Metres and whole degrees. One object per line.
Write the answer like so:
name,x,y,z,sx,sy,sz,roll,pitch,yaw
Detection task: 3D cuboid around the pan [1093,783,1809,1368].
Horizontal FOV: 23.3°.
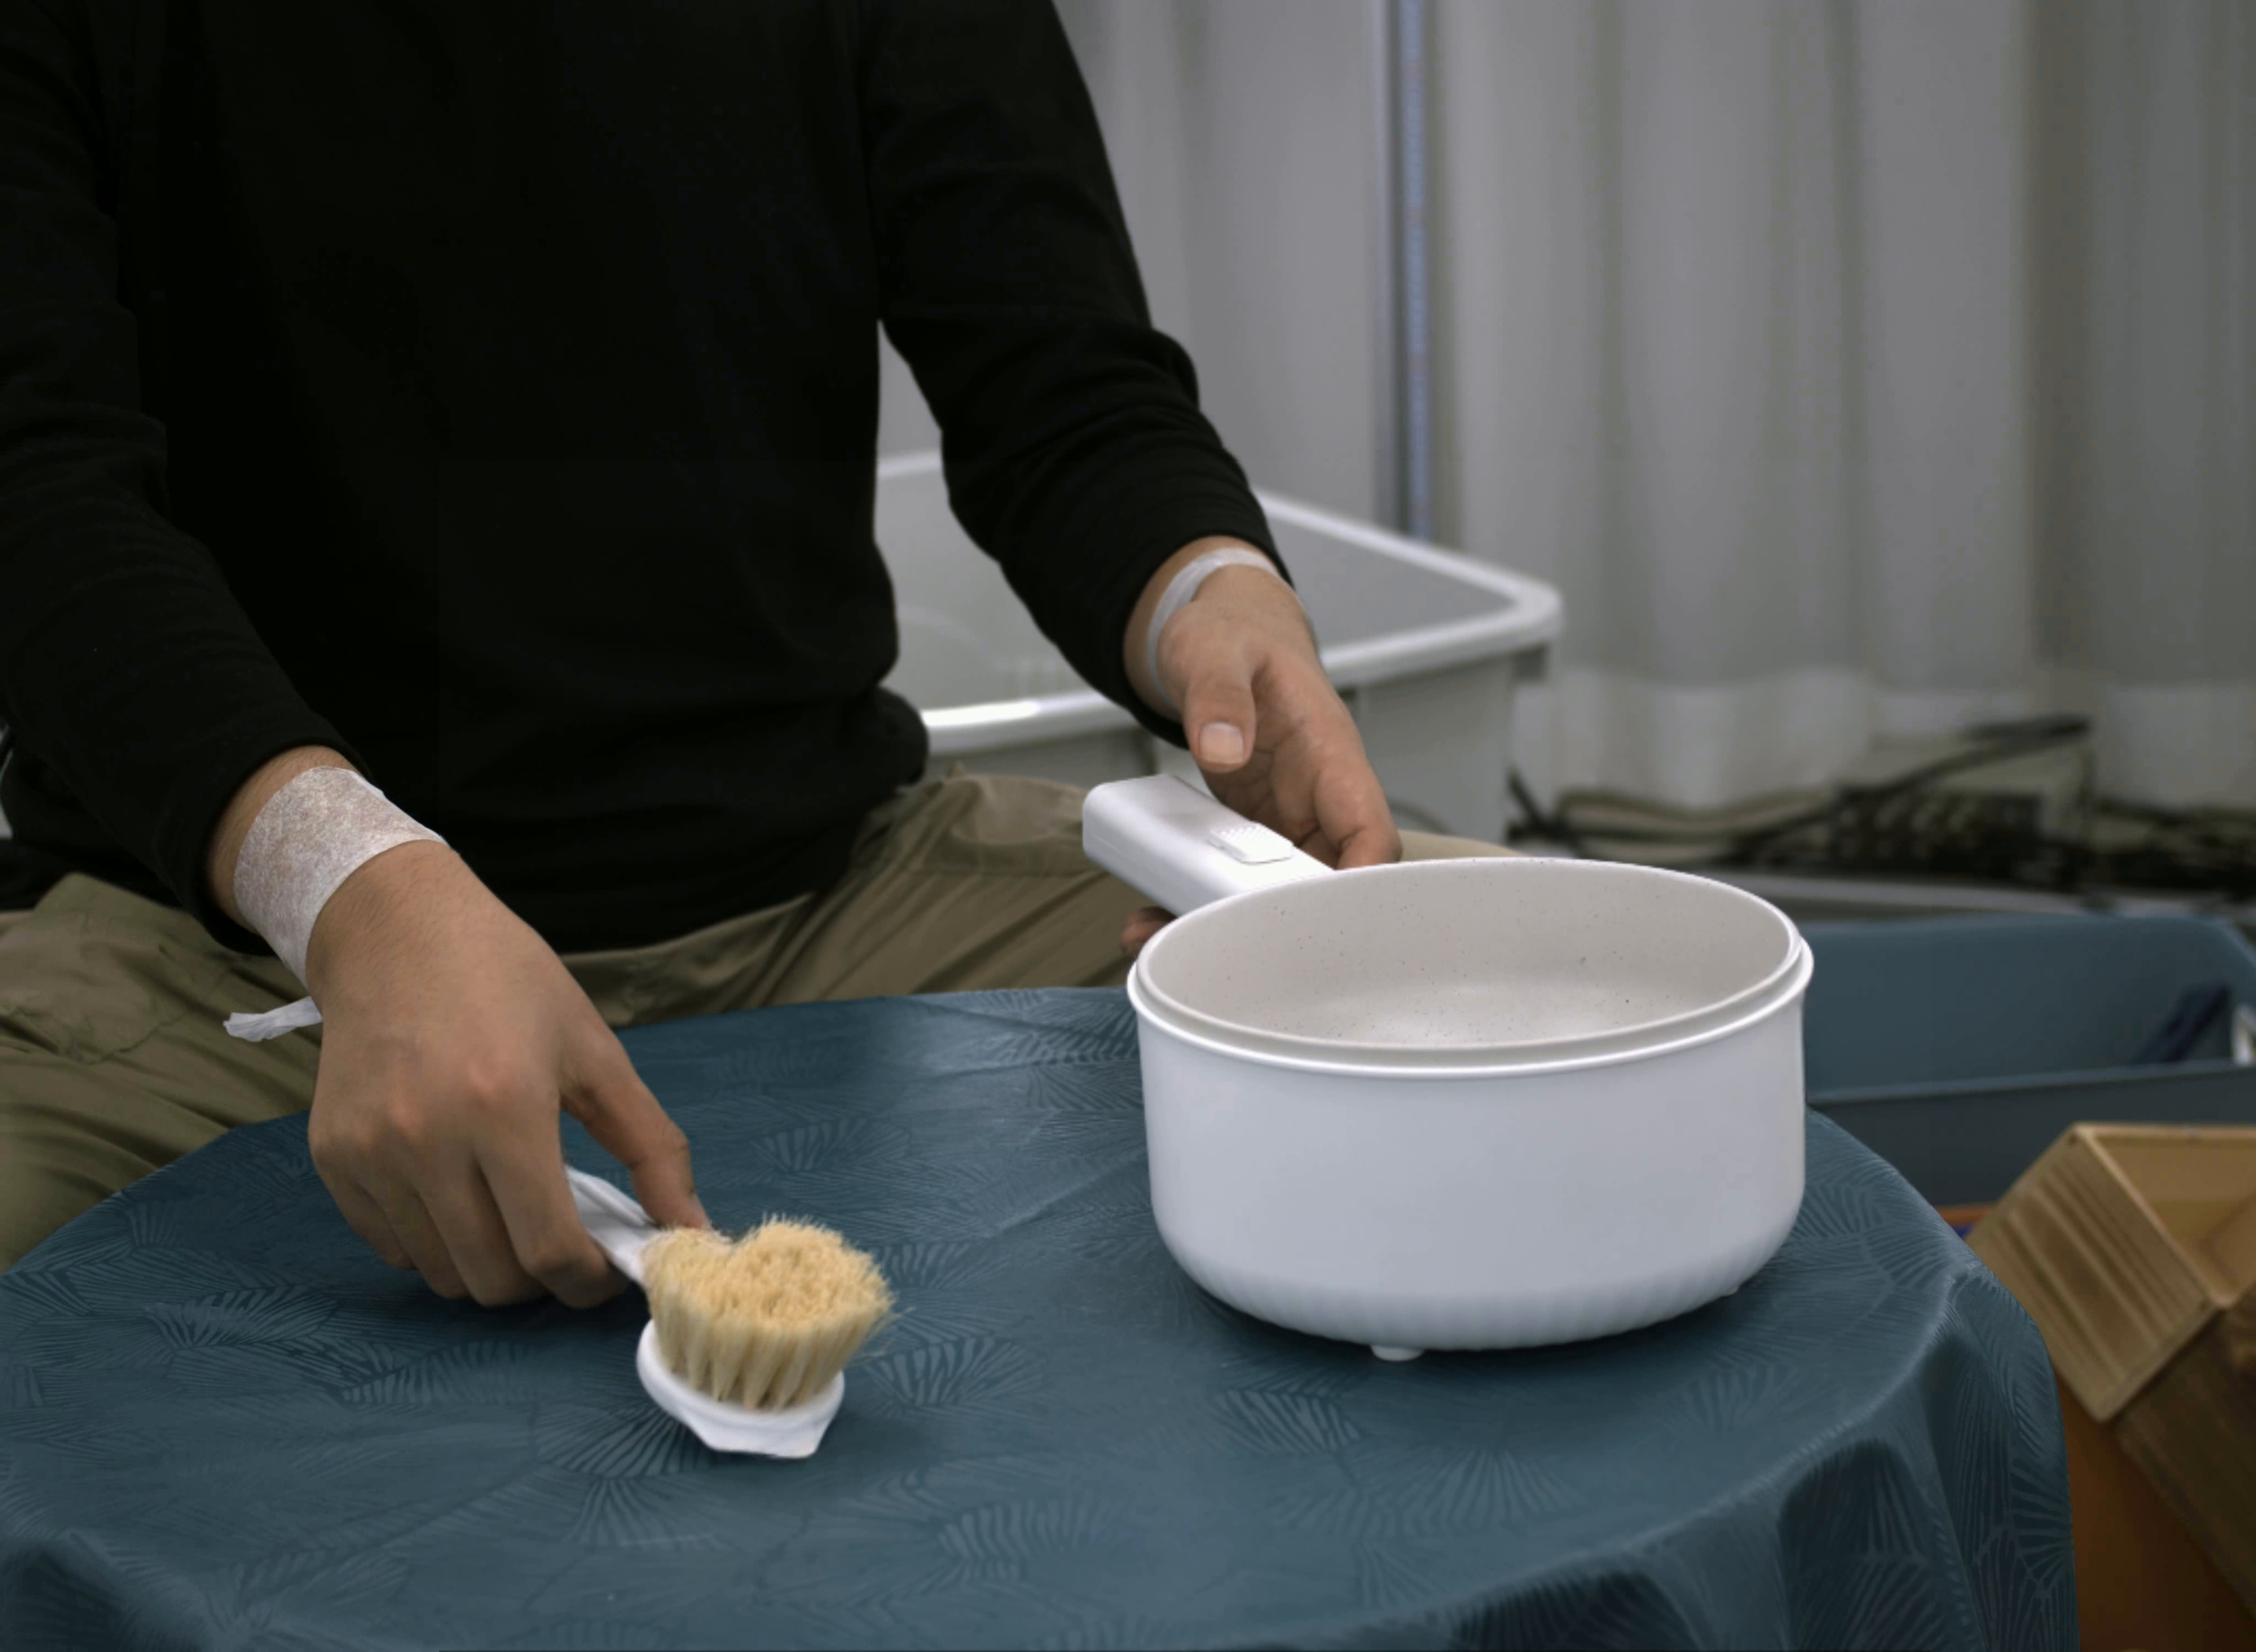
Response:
pan,0.073,0.070,1.685,0.200,0.102,0.357,-10,15,-21

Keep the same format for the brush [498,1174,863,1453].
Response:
brush,-0.143,0.119,1.614,0.068,0.056,0.268,11,8,-20
